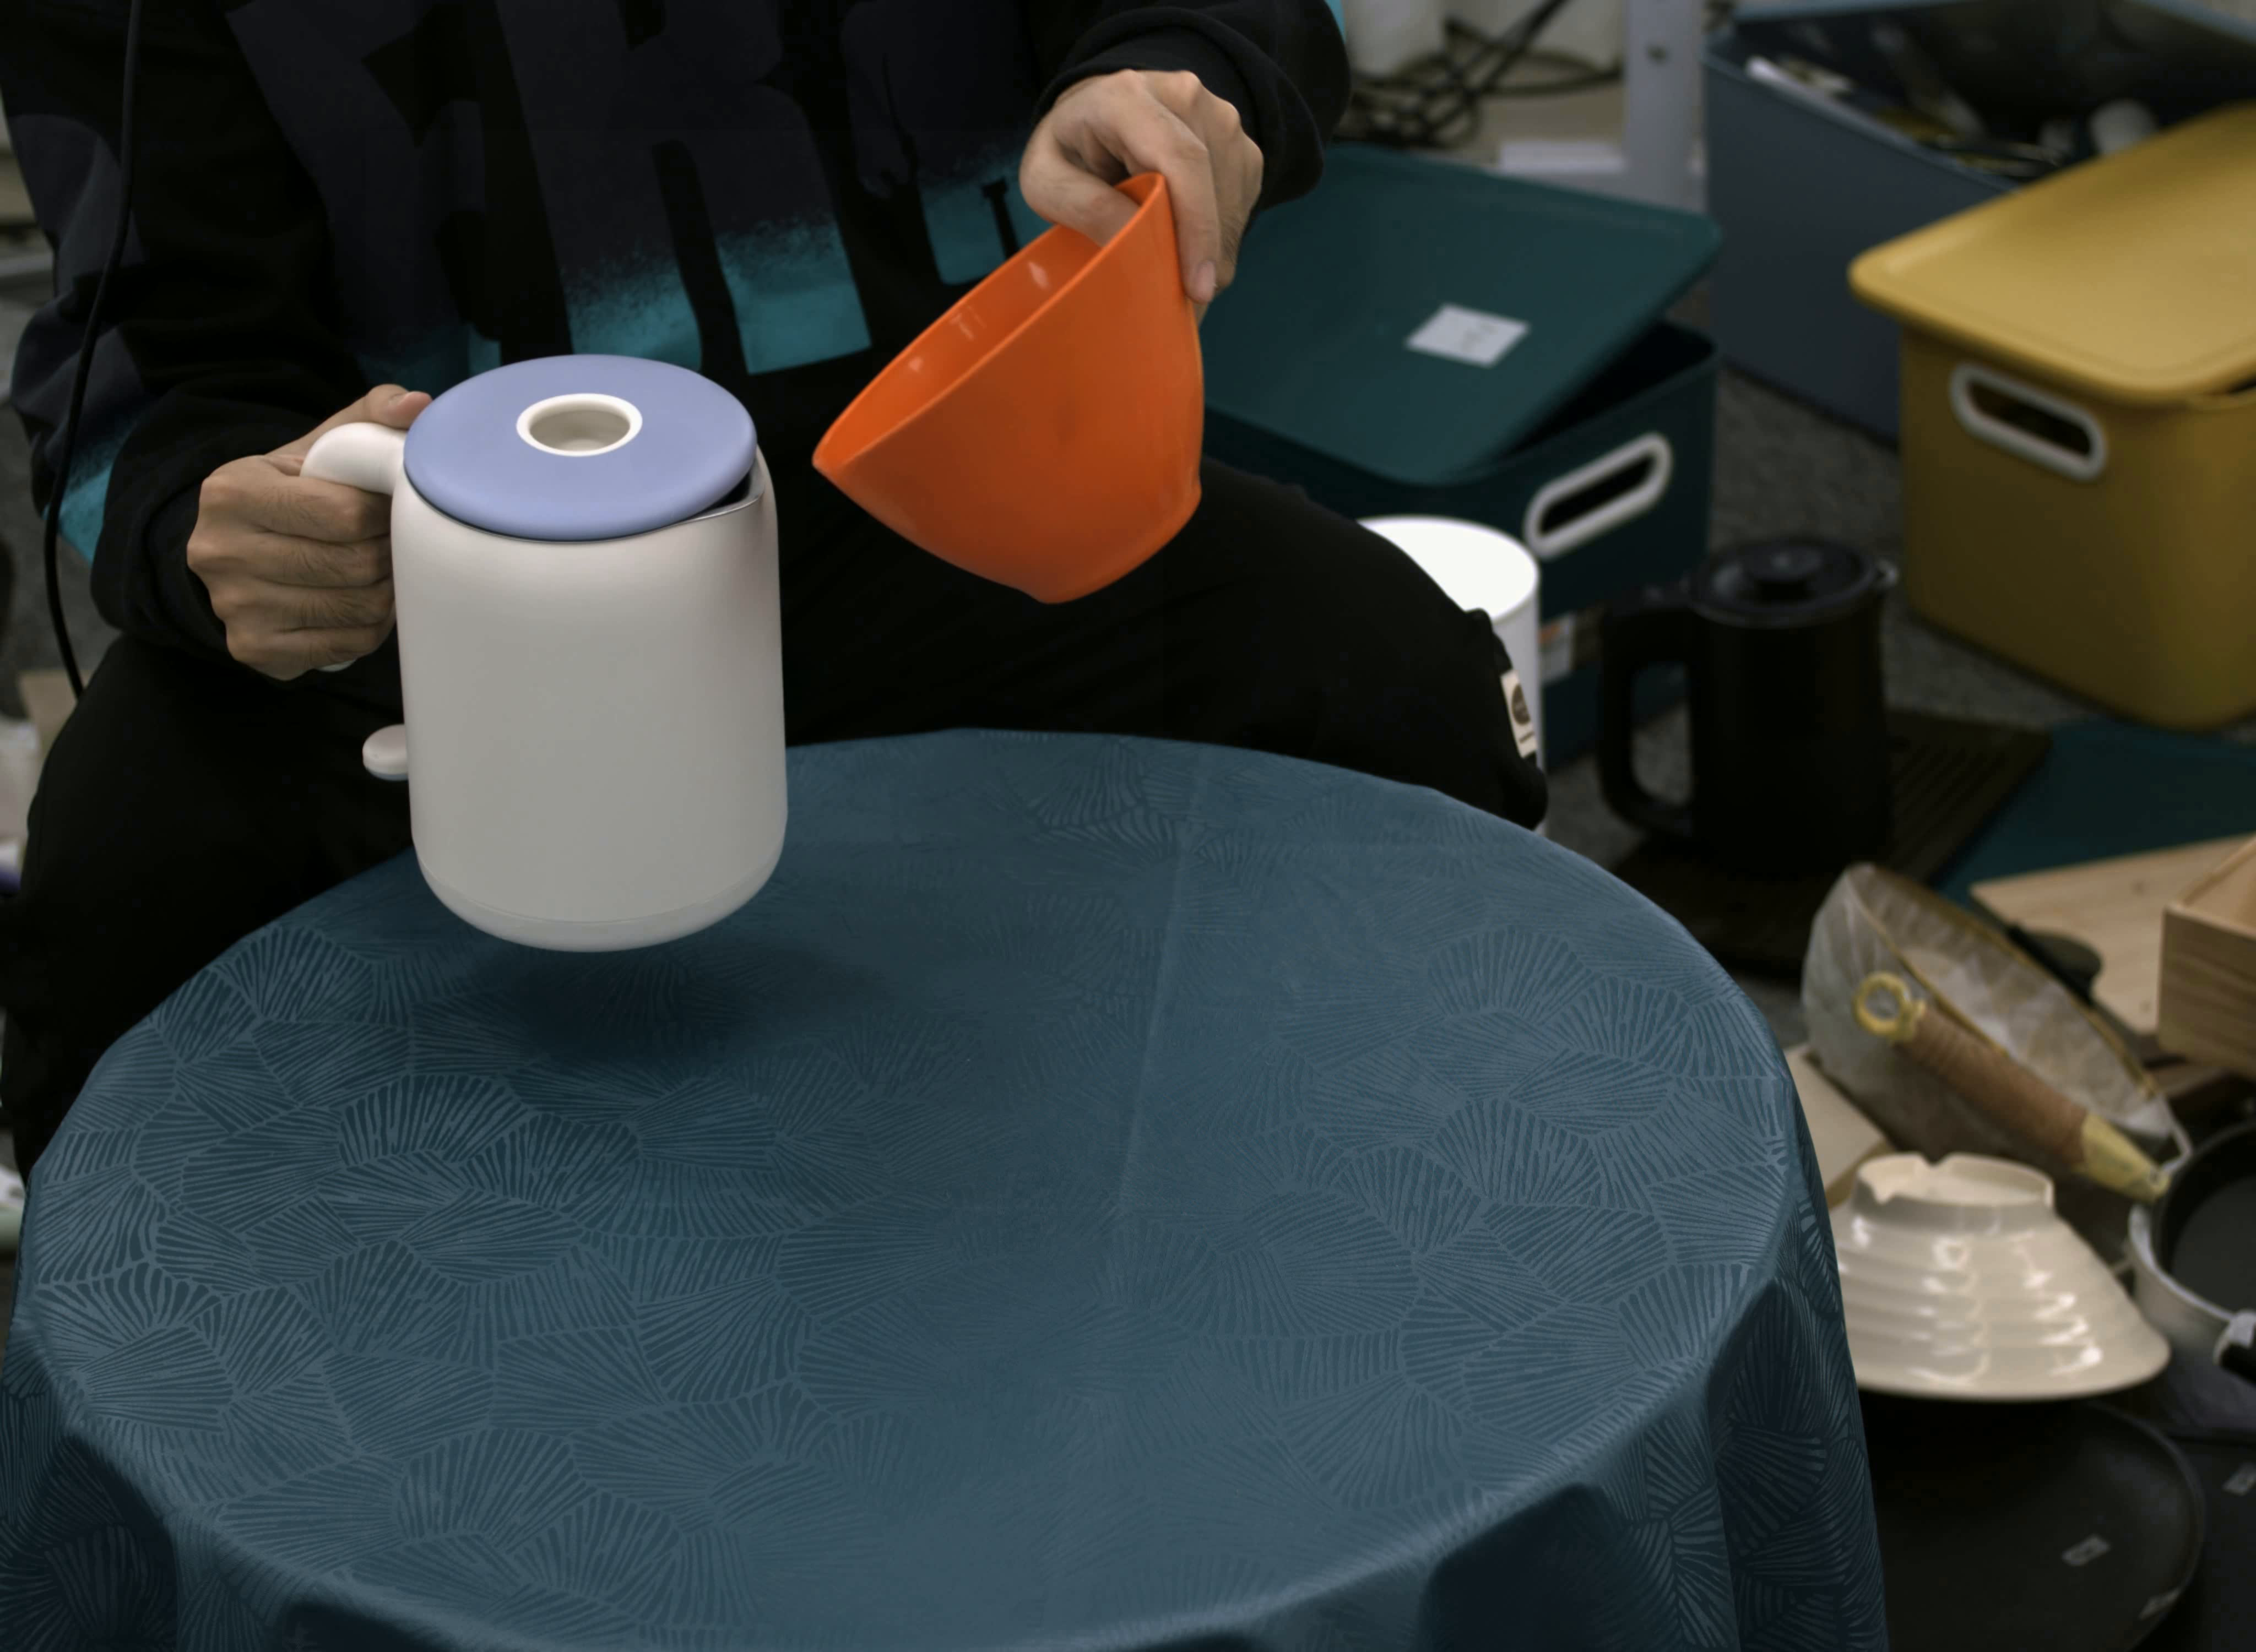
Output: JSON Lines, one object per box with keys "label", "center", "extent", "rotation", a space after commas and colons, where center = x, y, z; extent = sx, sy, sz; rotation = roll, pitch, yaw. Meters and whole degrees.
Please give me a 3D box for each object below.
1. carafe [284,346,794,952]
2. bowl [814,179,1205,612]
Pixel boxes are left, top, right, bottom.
{"label": "carafe", "center": [-0.205, -0.065, 1.933], "extent": [0.190, 0.180, 0.134], "rotation": [11, 34, 21]}
{"label": "bowl", "center": [-0.024, -0.132, 1.845], "extent": [0.147, 0.104, 0.150], "rotation": [-29, 21, 13]}
